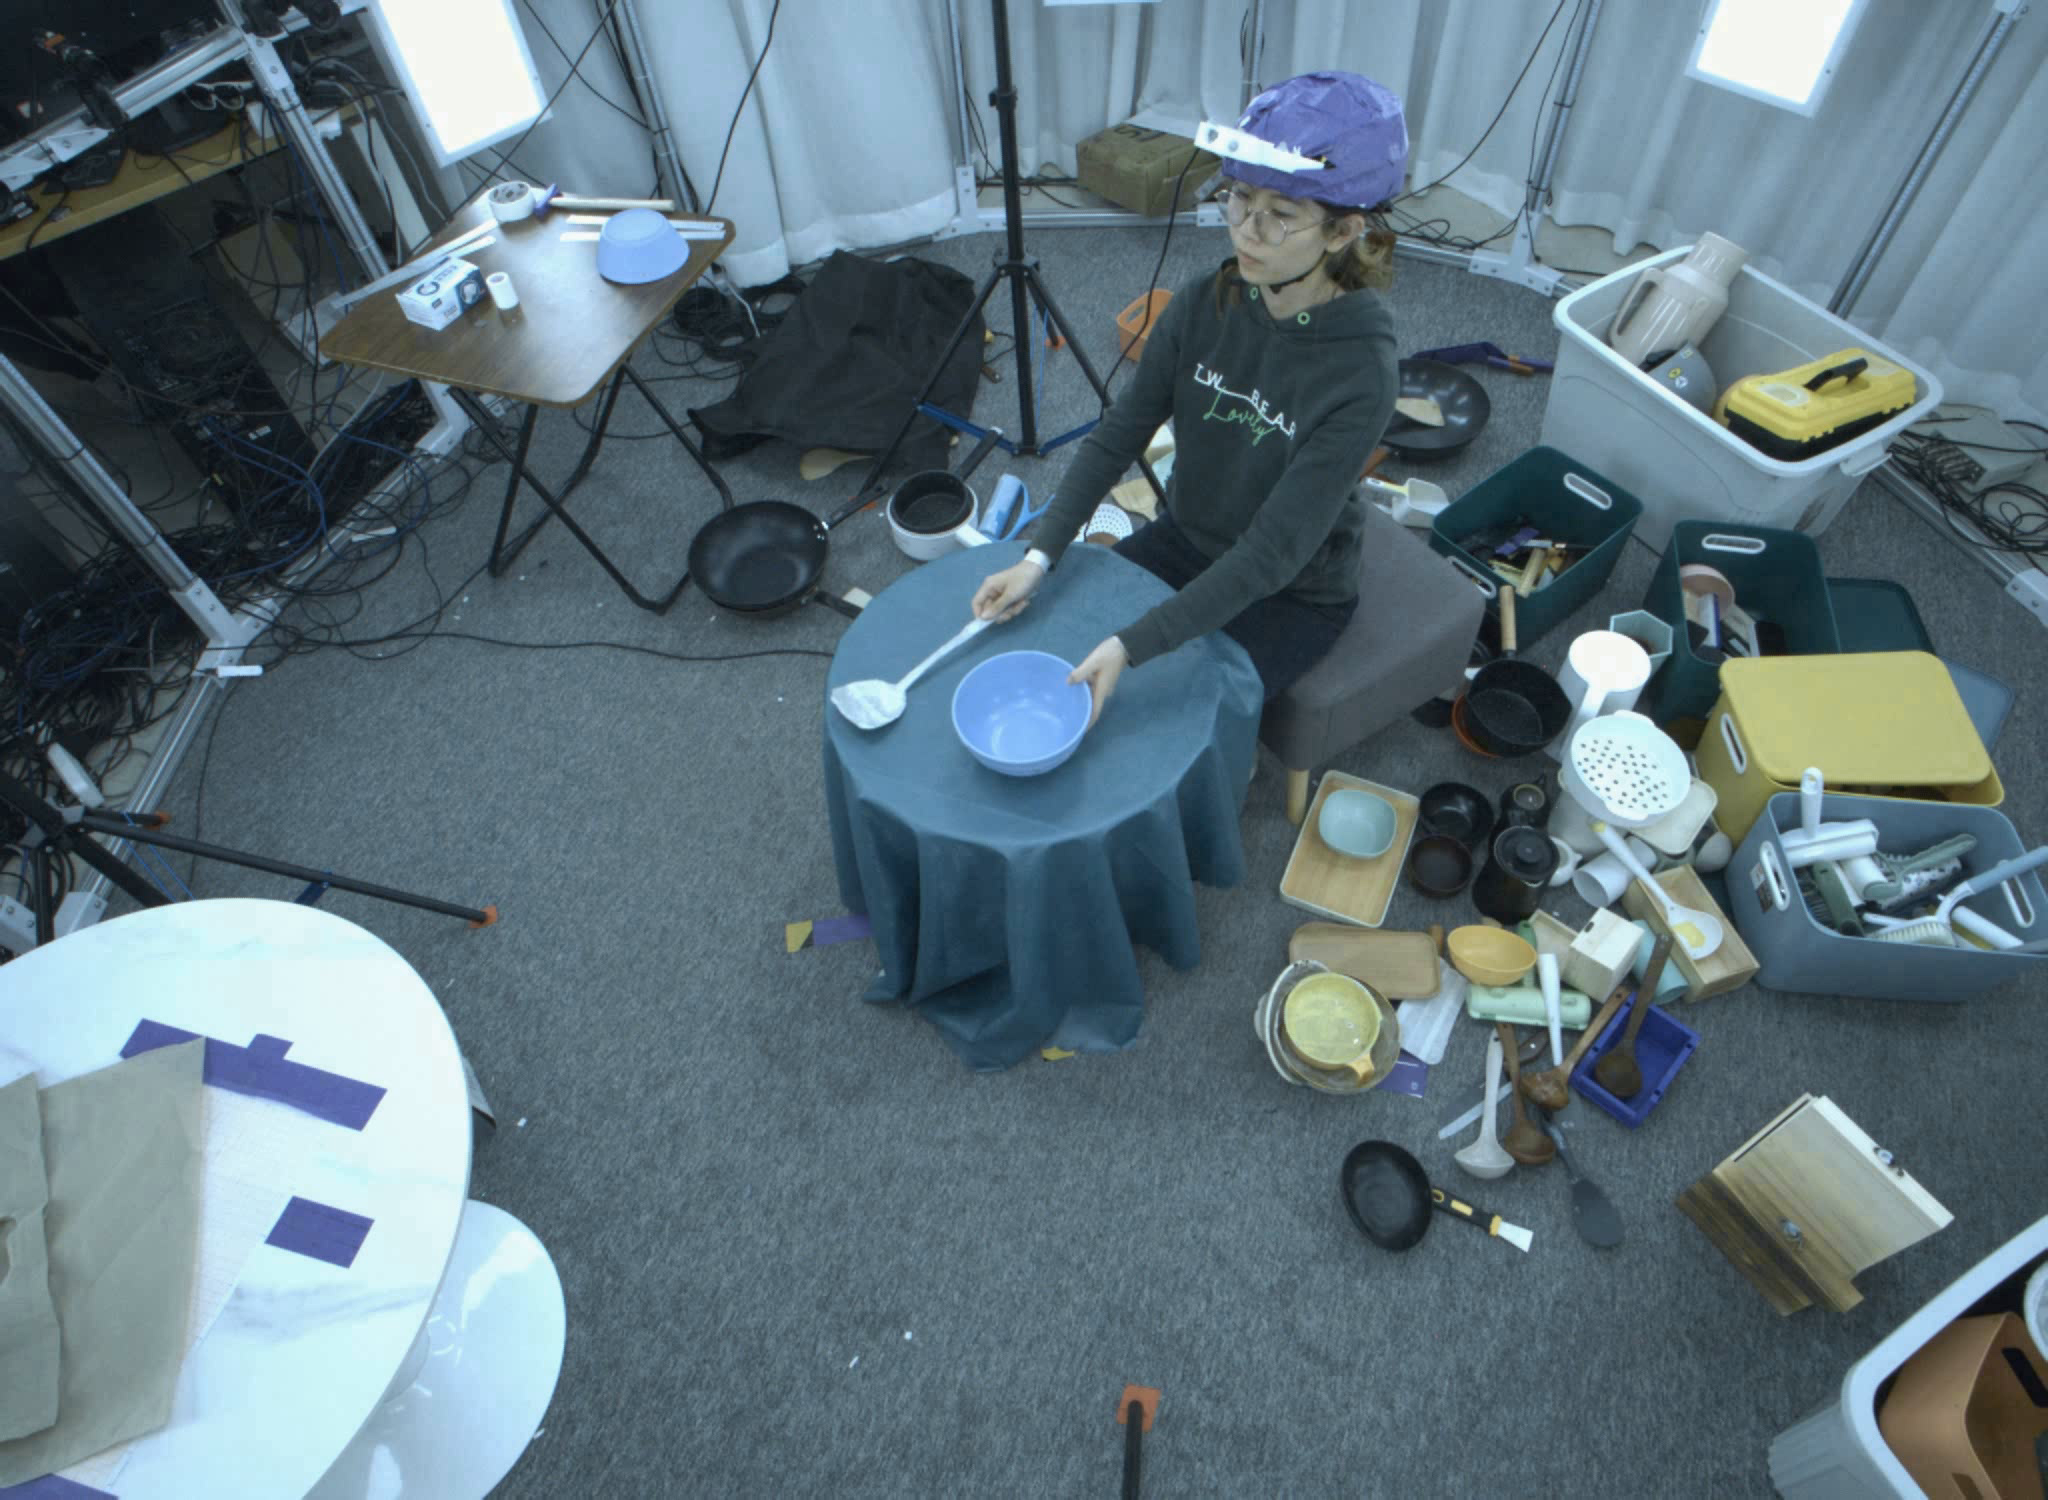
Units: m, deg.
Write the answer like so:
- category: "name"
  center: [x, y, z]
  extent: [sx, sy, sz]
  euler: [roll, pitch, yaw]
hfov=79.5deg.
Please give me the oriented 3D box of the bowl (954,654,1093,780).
- category: "bowl"
  center: [0.003, -0.032, 1.759]
  extent: [0.196, 0.096, 0.194]
  euler: [-2, 58, 4]

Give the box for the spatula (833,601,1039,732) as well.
- category: "spatula"
  center: [-0.125, -0.143, 1.869]
  extent: [0.367, 0.045, 0.097]
  euler: [-38, 62, -17]
